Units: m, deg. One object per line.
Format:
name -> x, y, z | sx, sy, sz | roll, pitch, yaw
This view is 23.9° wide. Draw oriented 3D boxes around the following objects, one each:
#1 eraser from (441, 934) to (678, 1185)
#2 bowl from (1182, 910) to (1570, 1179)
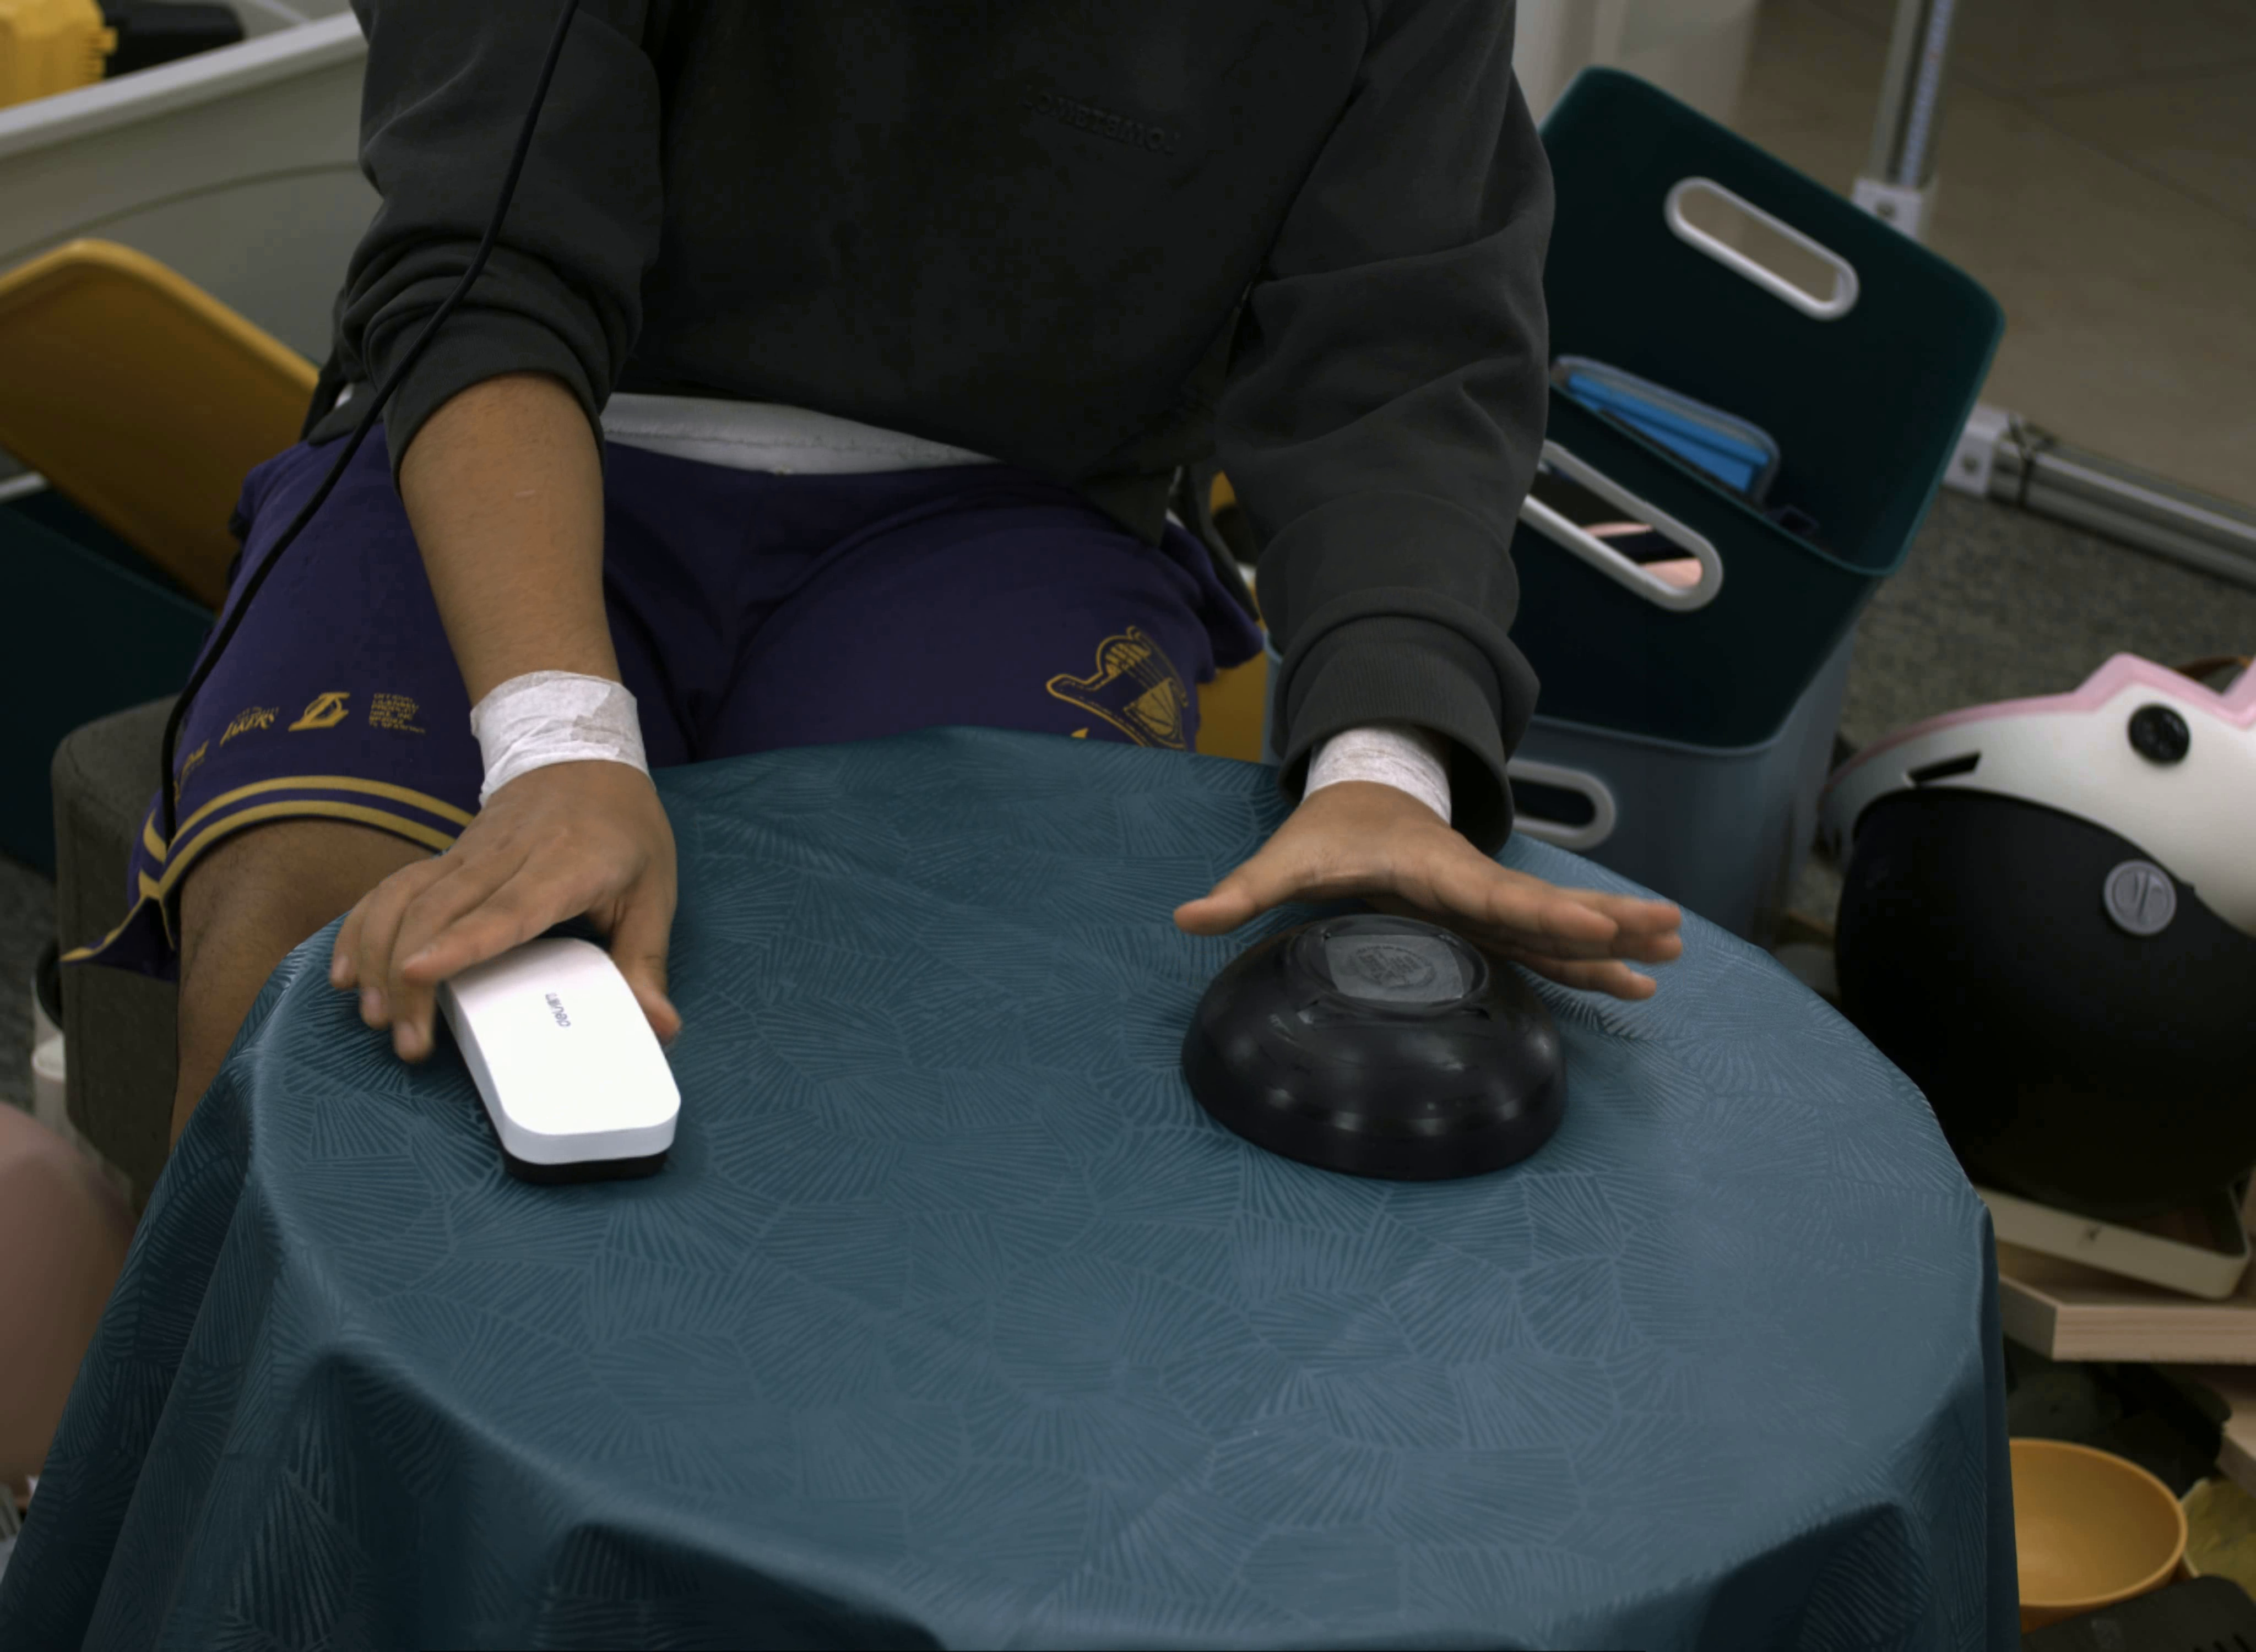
eraser -> -0.194, 0.076, 1.816 | 0.063, 0.034, 0.132 | -2, 30, -18
bowl -> 0.090, 0.067, 1.875 | 0.139, 0.049, 0.141 | 4, 28, -3
